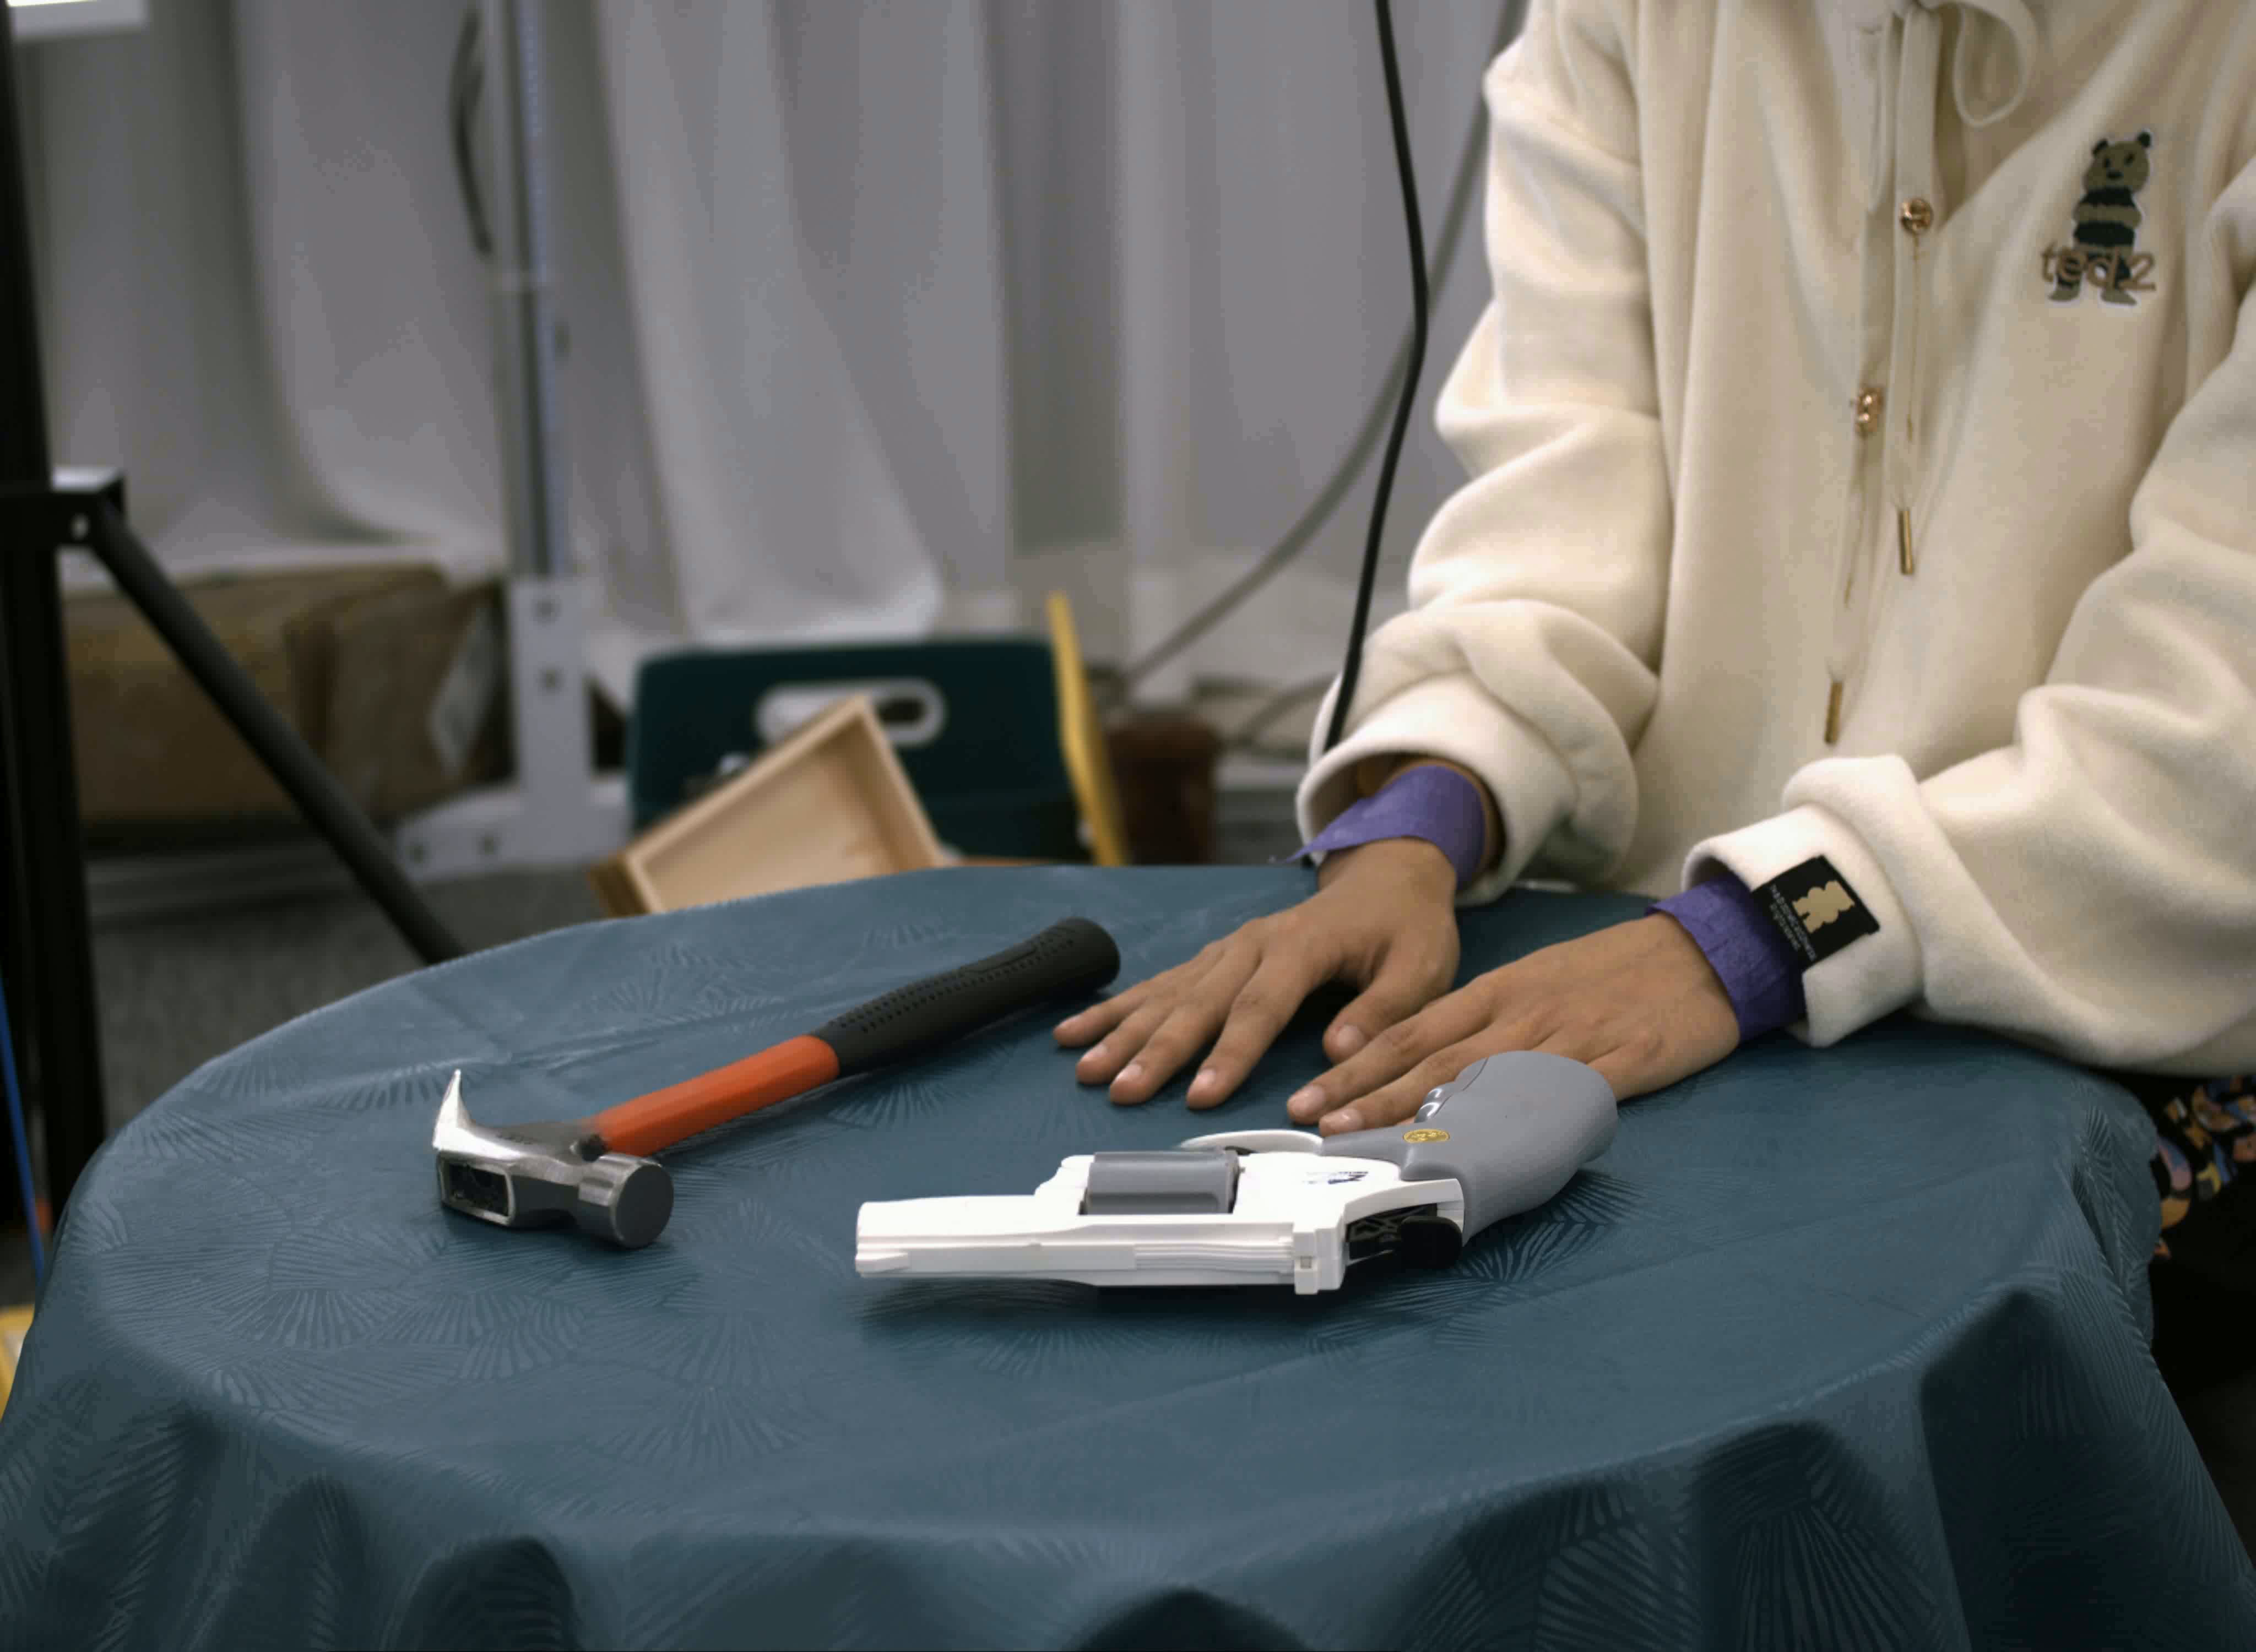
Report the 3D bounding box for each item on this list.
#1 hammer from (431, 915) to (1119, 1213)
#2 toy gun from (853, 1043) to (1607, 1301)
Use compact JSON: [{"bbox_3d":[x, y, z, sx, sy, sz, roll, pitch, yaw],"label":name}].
[{"bbox_3d":[-0.102,0.071,1.653,0.113,0.026,0.271,-1,13,42],"label":"hammer"},{"bbox_3d":[0.032,0.100,1.507,0.209,0.039,0.141,-1,17,7],"label":"toy gun"}]
